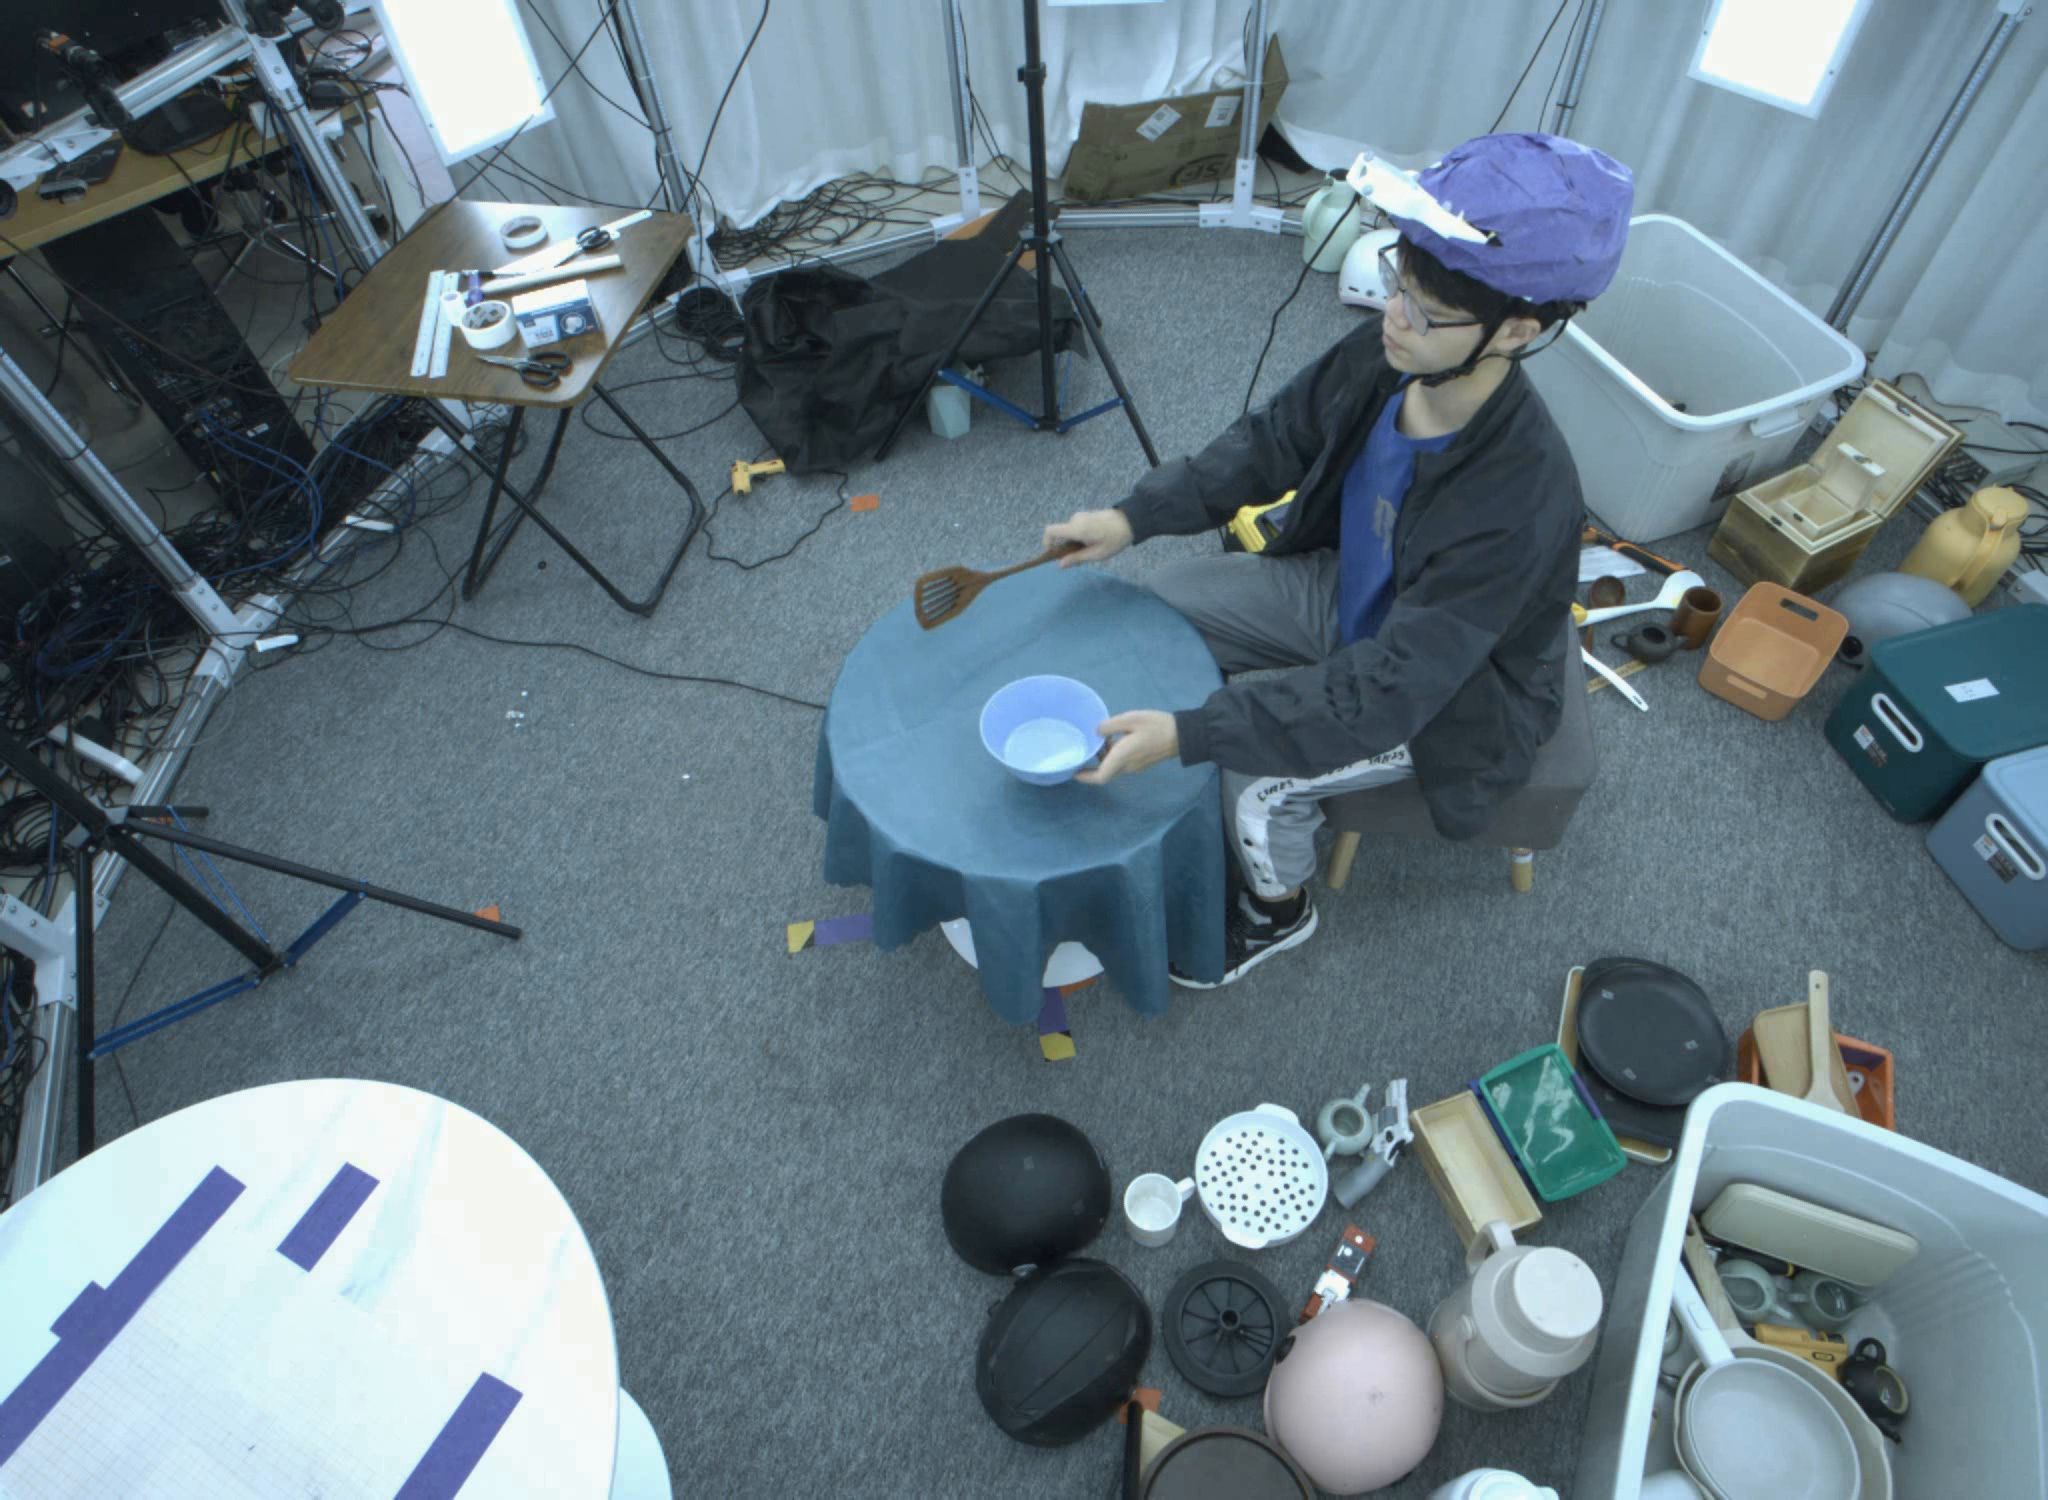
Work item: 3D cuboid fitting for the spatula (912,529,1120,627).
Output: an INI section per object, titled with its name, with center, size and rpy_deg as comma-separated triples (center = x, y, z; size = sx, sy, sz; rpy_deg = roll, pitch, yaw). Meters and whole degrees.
[spatula]
center = -0.008, -0.277, 1.851
size = 0.392, 0.086, 0.023
rpy_deg = -23, 33, -29

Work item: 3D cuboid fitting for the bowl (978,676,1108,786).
[bowl]
center = 0.026, -0.016, 1.682
size = 0.176, 0.071, 0.174
rpy_deg = 1, 51, 0
